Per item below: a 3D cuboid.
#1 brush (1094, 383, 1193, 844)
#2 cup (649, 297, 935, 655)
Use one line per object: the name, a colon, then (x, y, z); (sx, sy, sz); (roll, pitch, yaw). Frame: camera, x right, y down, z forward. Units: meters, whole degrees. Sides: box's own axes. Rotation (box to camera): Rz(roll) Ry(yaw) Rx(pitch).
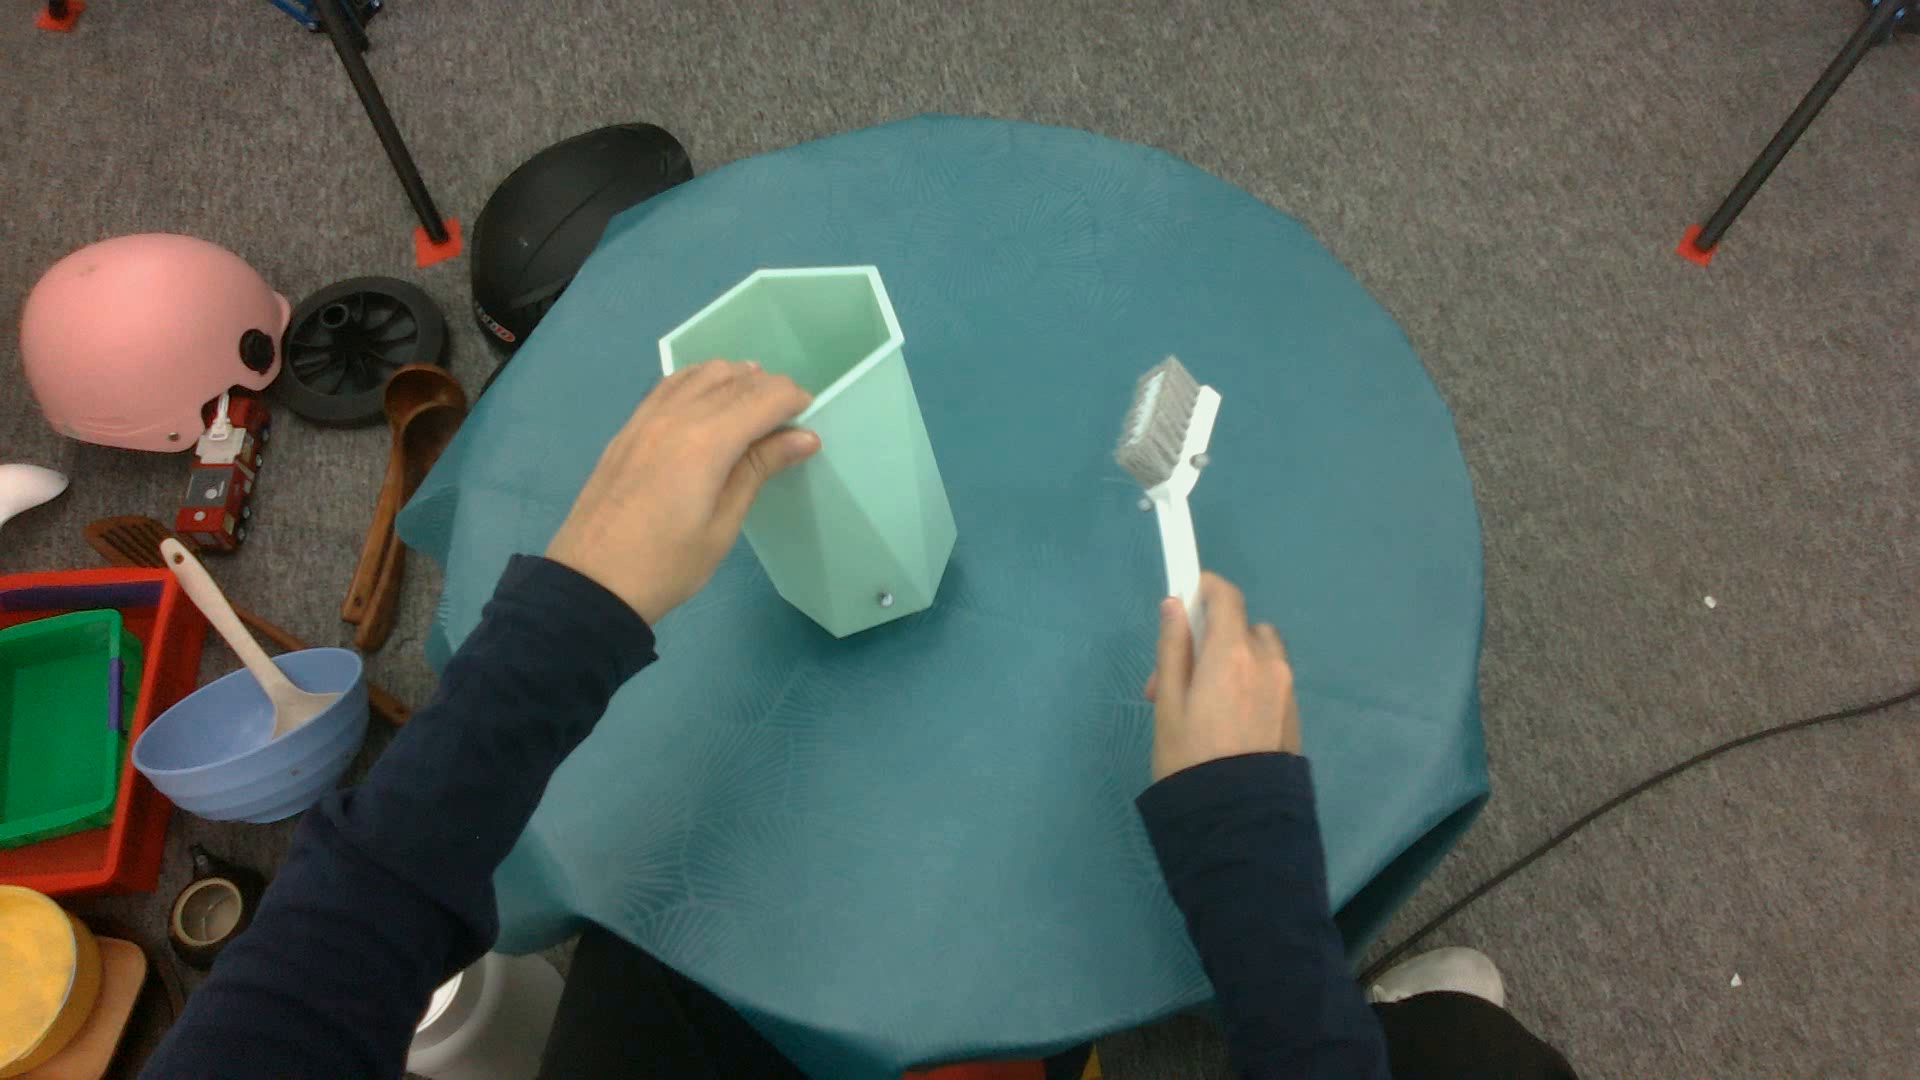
brush: (0.090, 0.031, 0.708); (0.050, 0.034, 0.244); (27, 60, -38)
cup: (-0.080, -0.029, 0.728); (0.115, 0.162, 0.131); (29, 60, 35)
